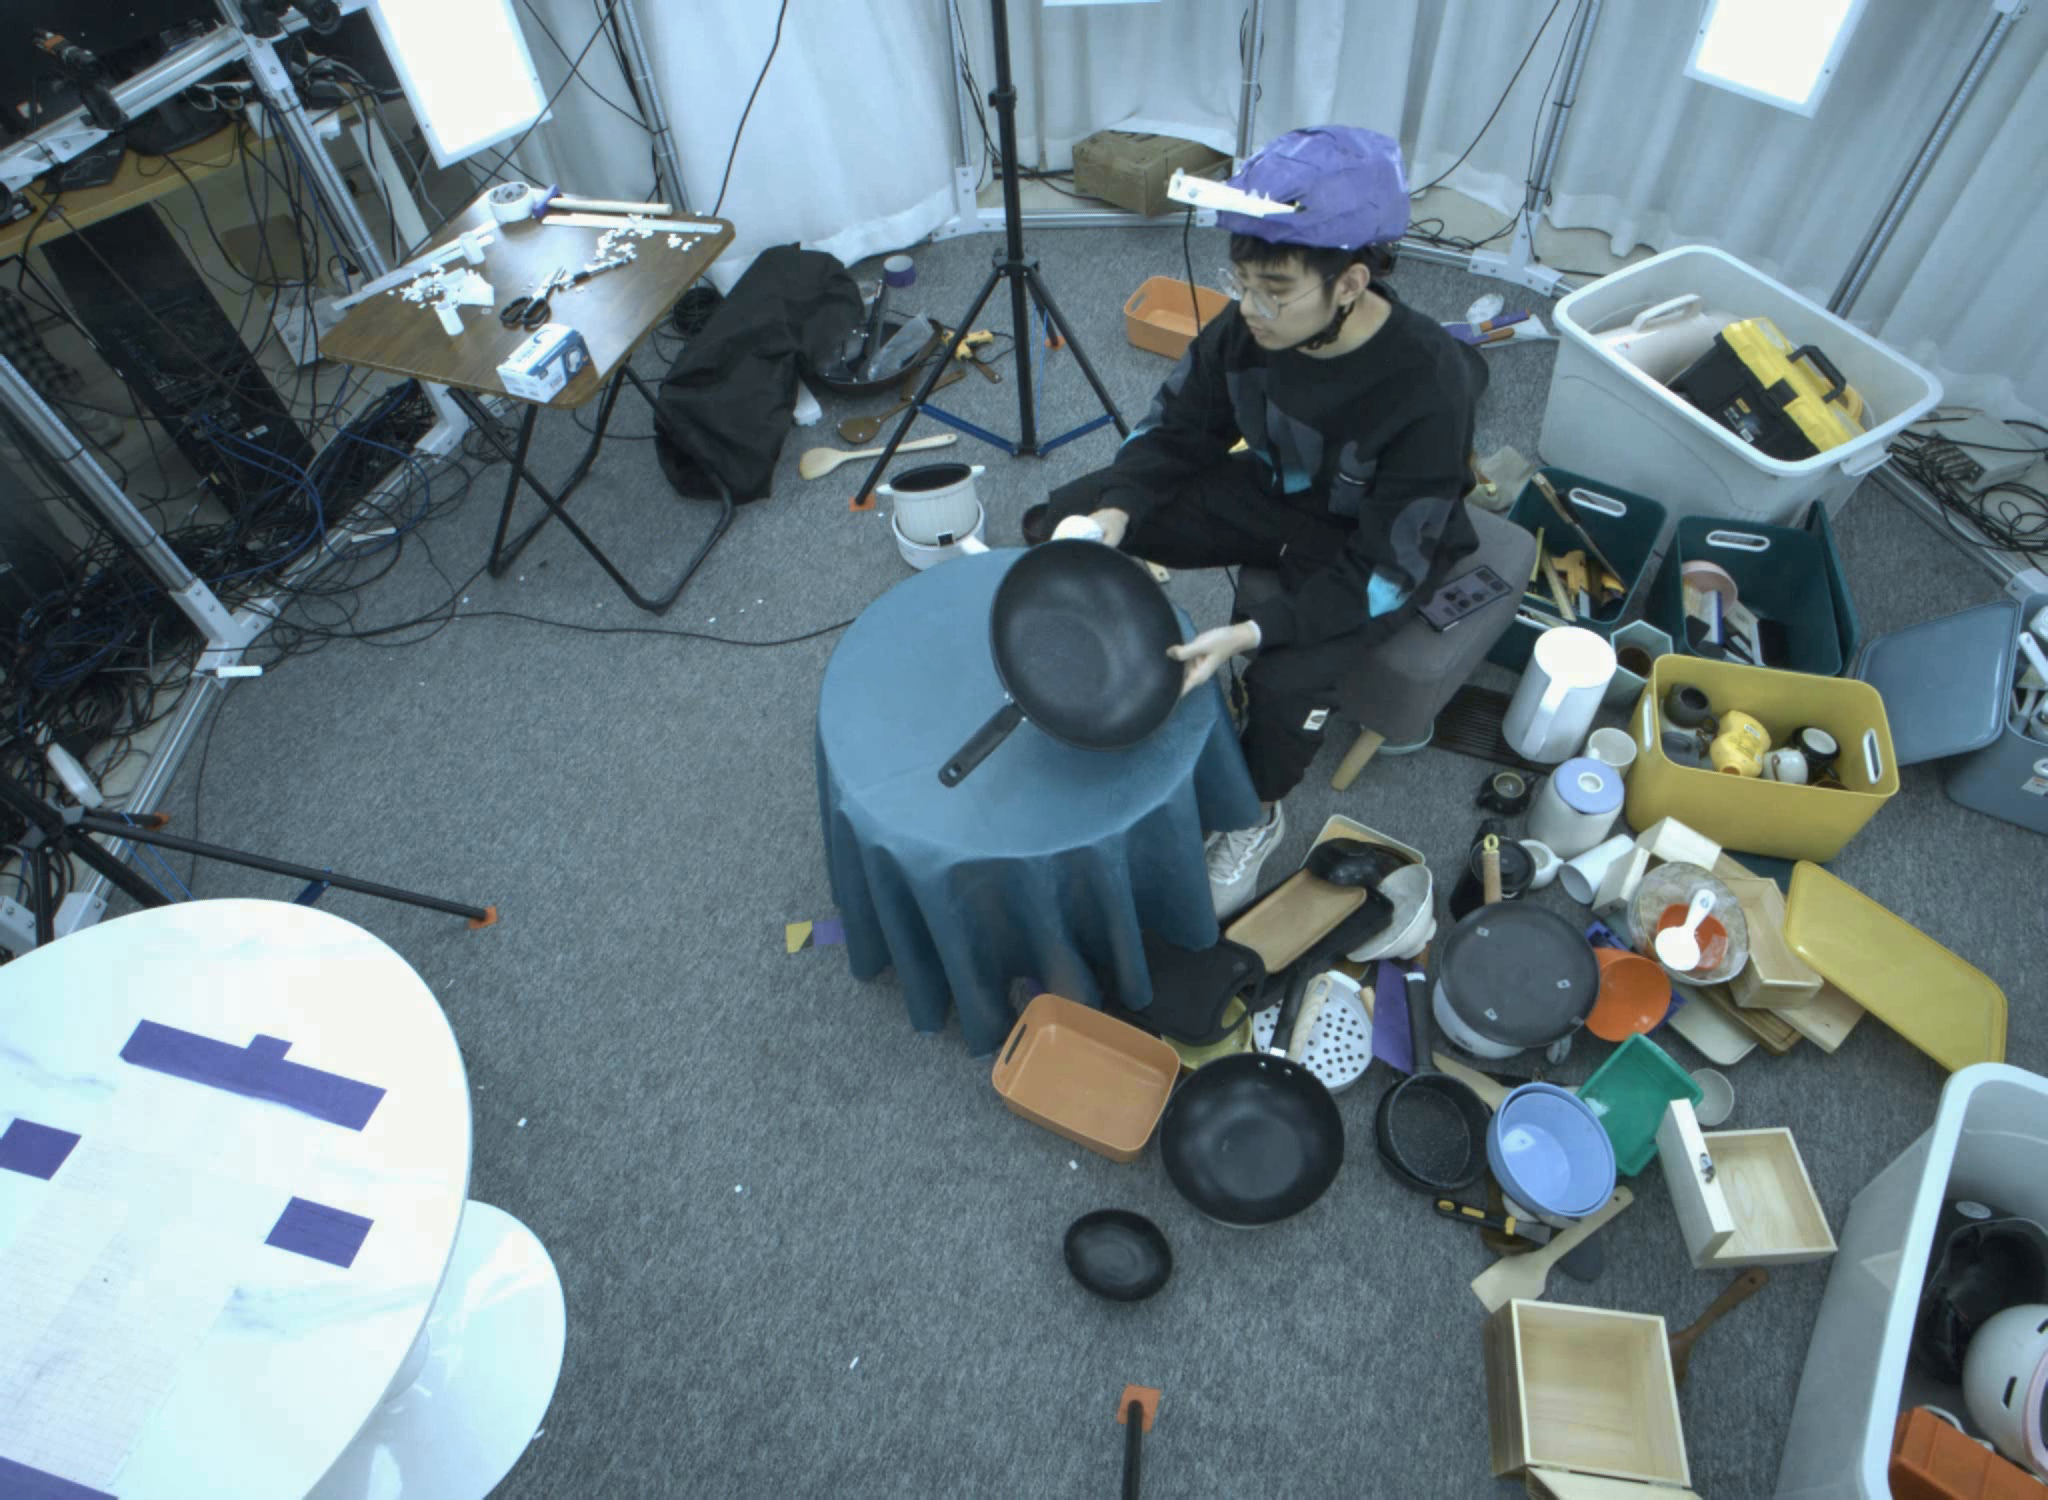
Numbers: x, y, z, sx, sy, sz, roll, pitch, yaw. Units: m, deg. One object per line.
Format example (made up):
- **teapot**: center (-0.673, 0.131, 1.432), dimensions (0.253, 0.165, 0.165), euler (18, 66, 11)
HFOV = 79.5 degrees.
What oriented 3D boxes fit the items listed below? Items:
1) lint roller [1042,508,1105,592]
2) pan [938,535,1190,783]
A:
- **lint roller**: center (0.078, -0.287, 1.847), dimensions (0.073, 0.193, 0.195), euler (36, 33, 18)
- **pan**: center (0.031, -0.096, 1.678), dimensions (0.312, 0.110, 0.480), euler (50, 61, -7)
